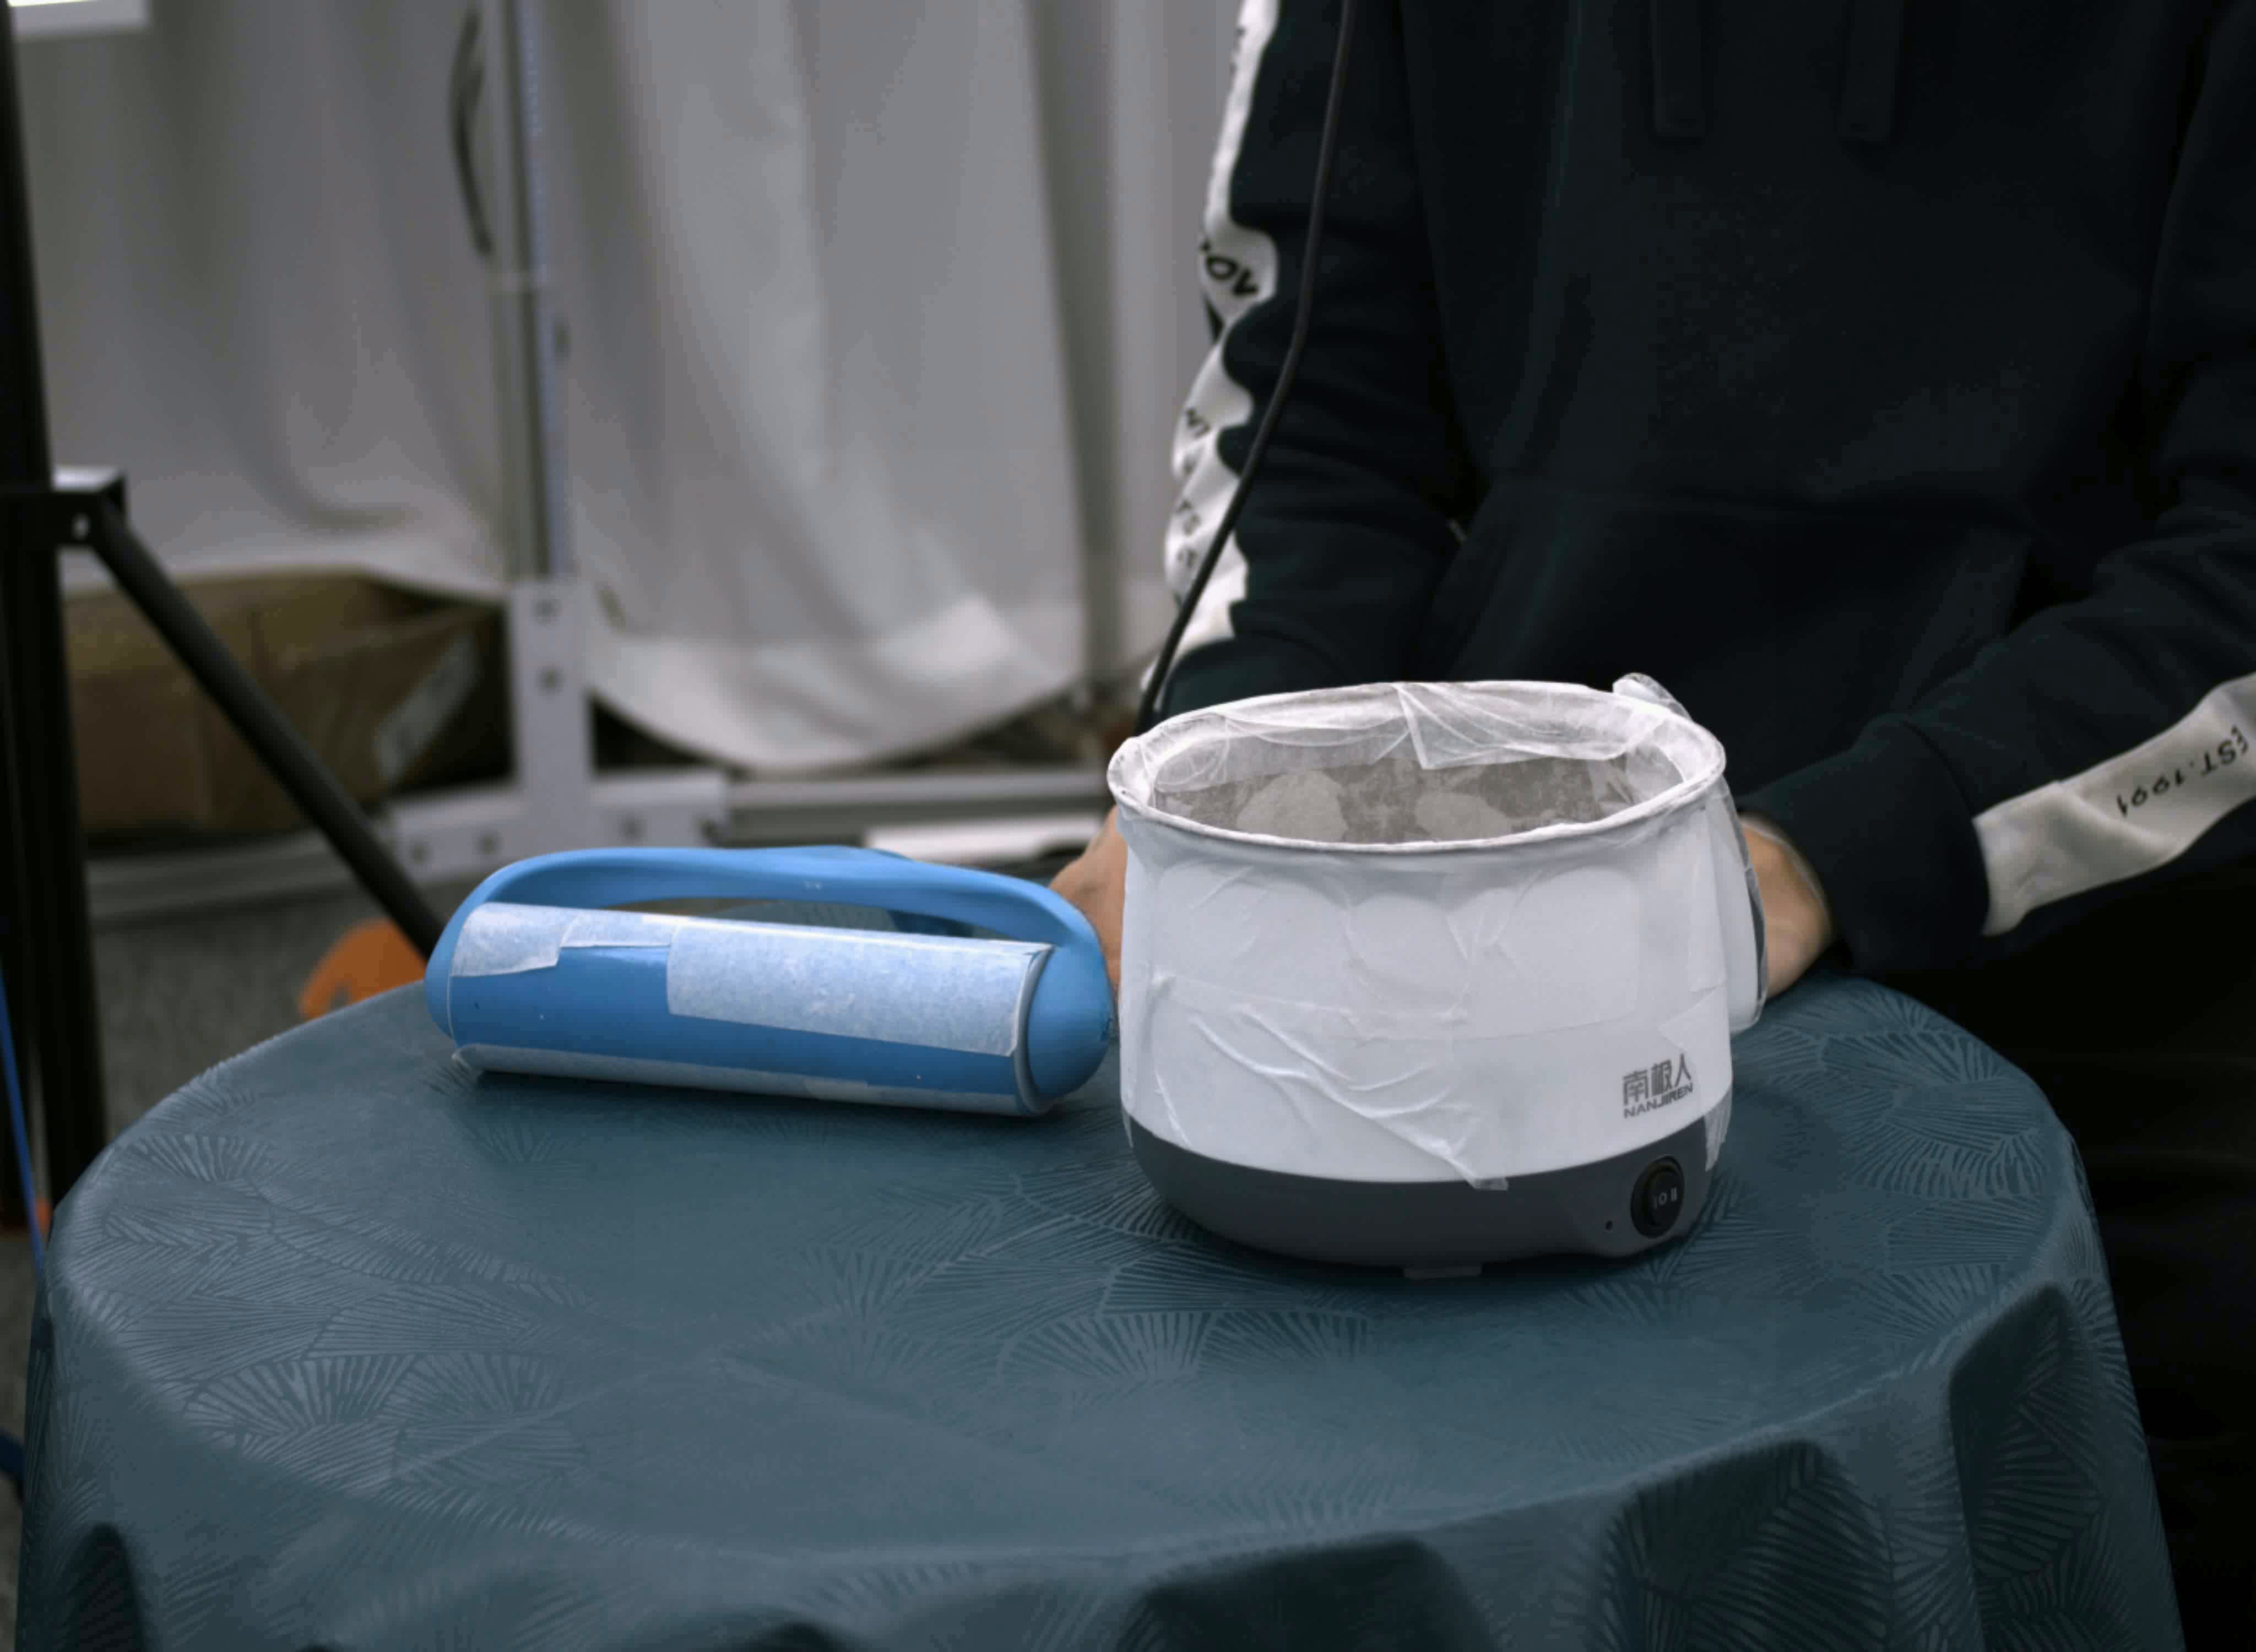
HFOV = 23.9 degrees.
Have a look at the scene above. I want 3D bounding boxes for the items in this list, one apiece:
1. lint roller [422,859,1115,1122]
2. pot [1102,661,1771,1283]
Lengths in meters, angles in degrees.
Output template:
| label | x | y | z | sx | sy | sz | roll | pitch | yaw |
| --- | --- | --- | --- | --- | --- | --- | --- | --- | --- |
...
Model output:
| label | x | y | z | sx | sy | sz | roll | pitch | yaw |
| --- | --- | --- | --- | --- | --- | --- | --- | --- | --- |
| lint roller | -0.097 | 0.041 | 1.709 | 0.231 | 0.068 | 0.178 | 1 | 17 | 18 |
| pot | 0.103 | 0.035 | 1.540 | 0.183 | 0.136 | 0.228 | 13 | 23 | 43 |
